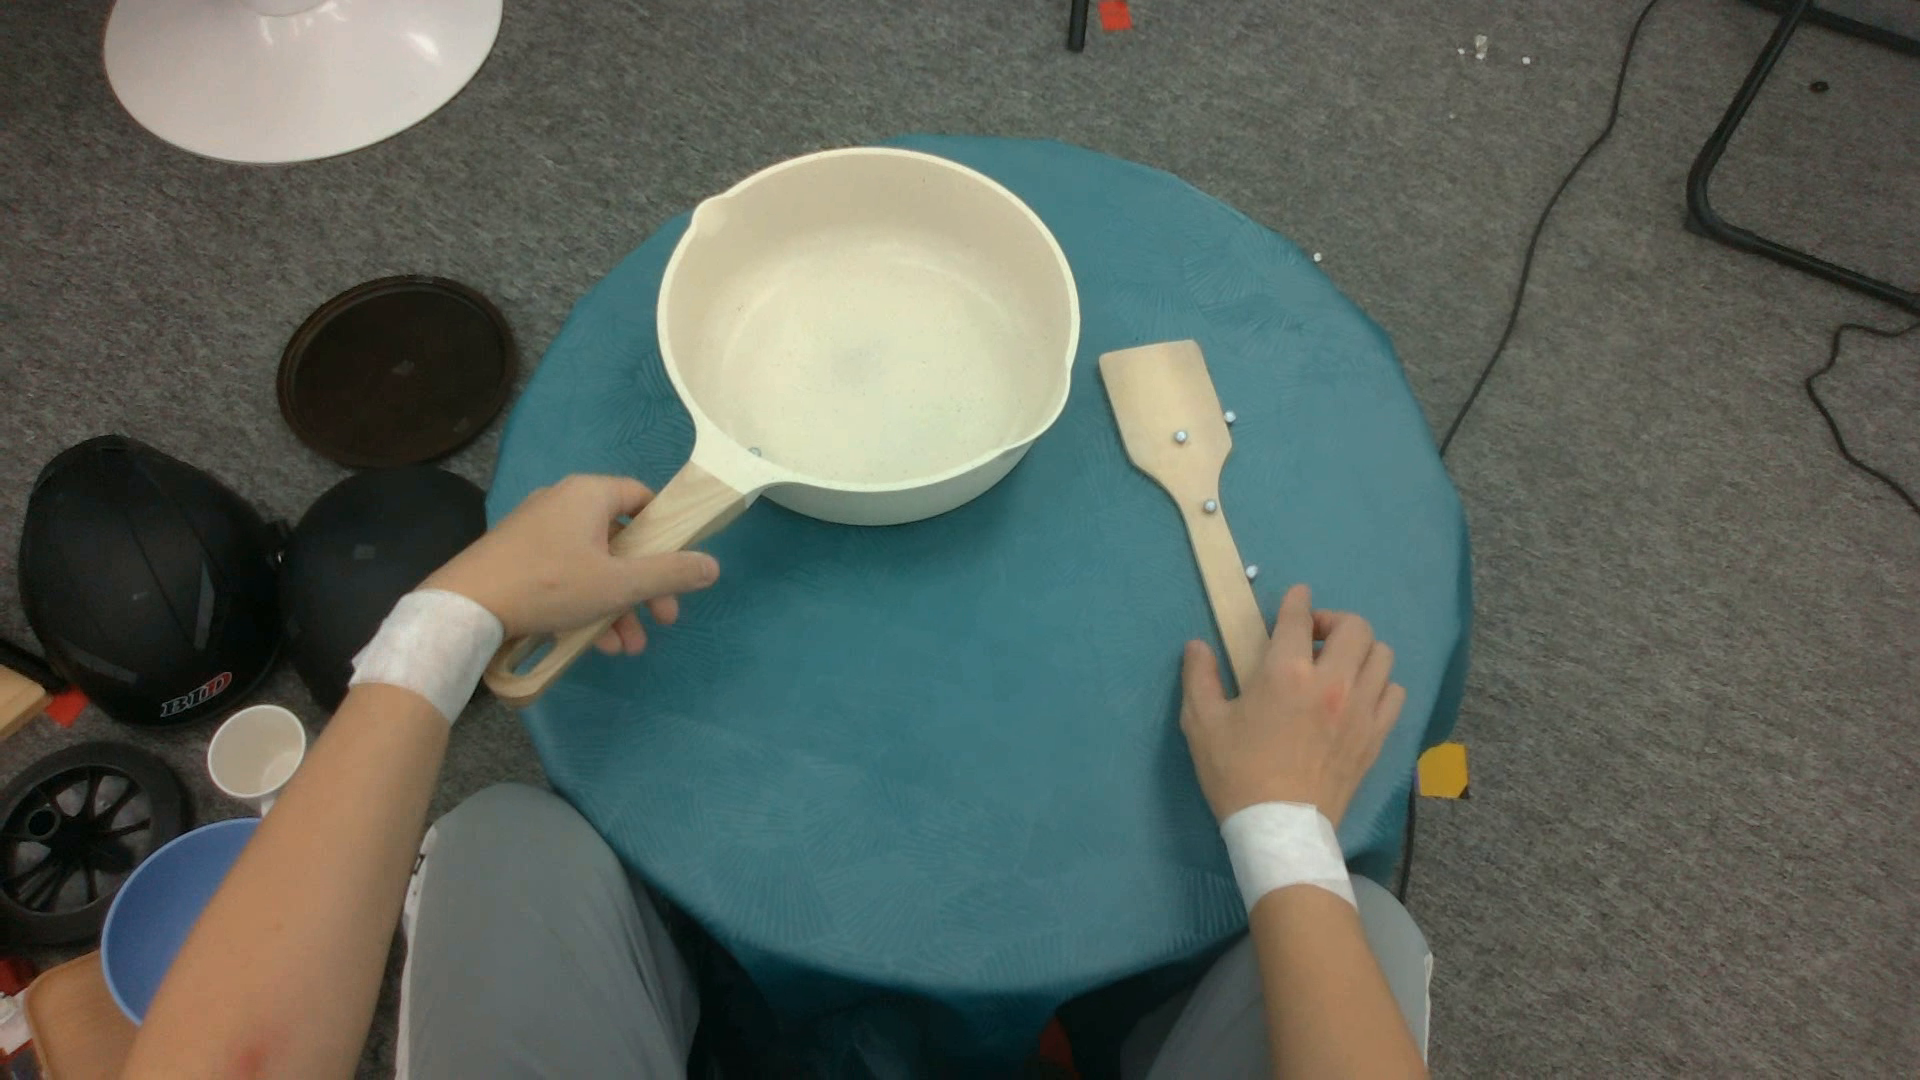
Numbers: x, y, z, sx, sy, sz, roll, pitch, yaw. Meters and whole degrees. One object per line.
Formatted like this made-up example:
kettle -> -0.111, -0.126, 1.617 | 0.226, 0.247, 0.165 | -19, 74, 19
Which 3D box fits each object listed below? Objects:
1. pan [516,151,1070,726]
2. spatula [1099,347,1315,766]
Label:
pan -> -0.108, -0.056, 0.827 | 0.263, 0.101, 0.436 | 30, 66, 12
spatula -> 0.160, 0.002, 0.854 | 0.072, 0.010, 0.294 | -11, 63, -9
